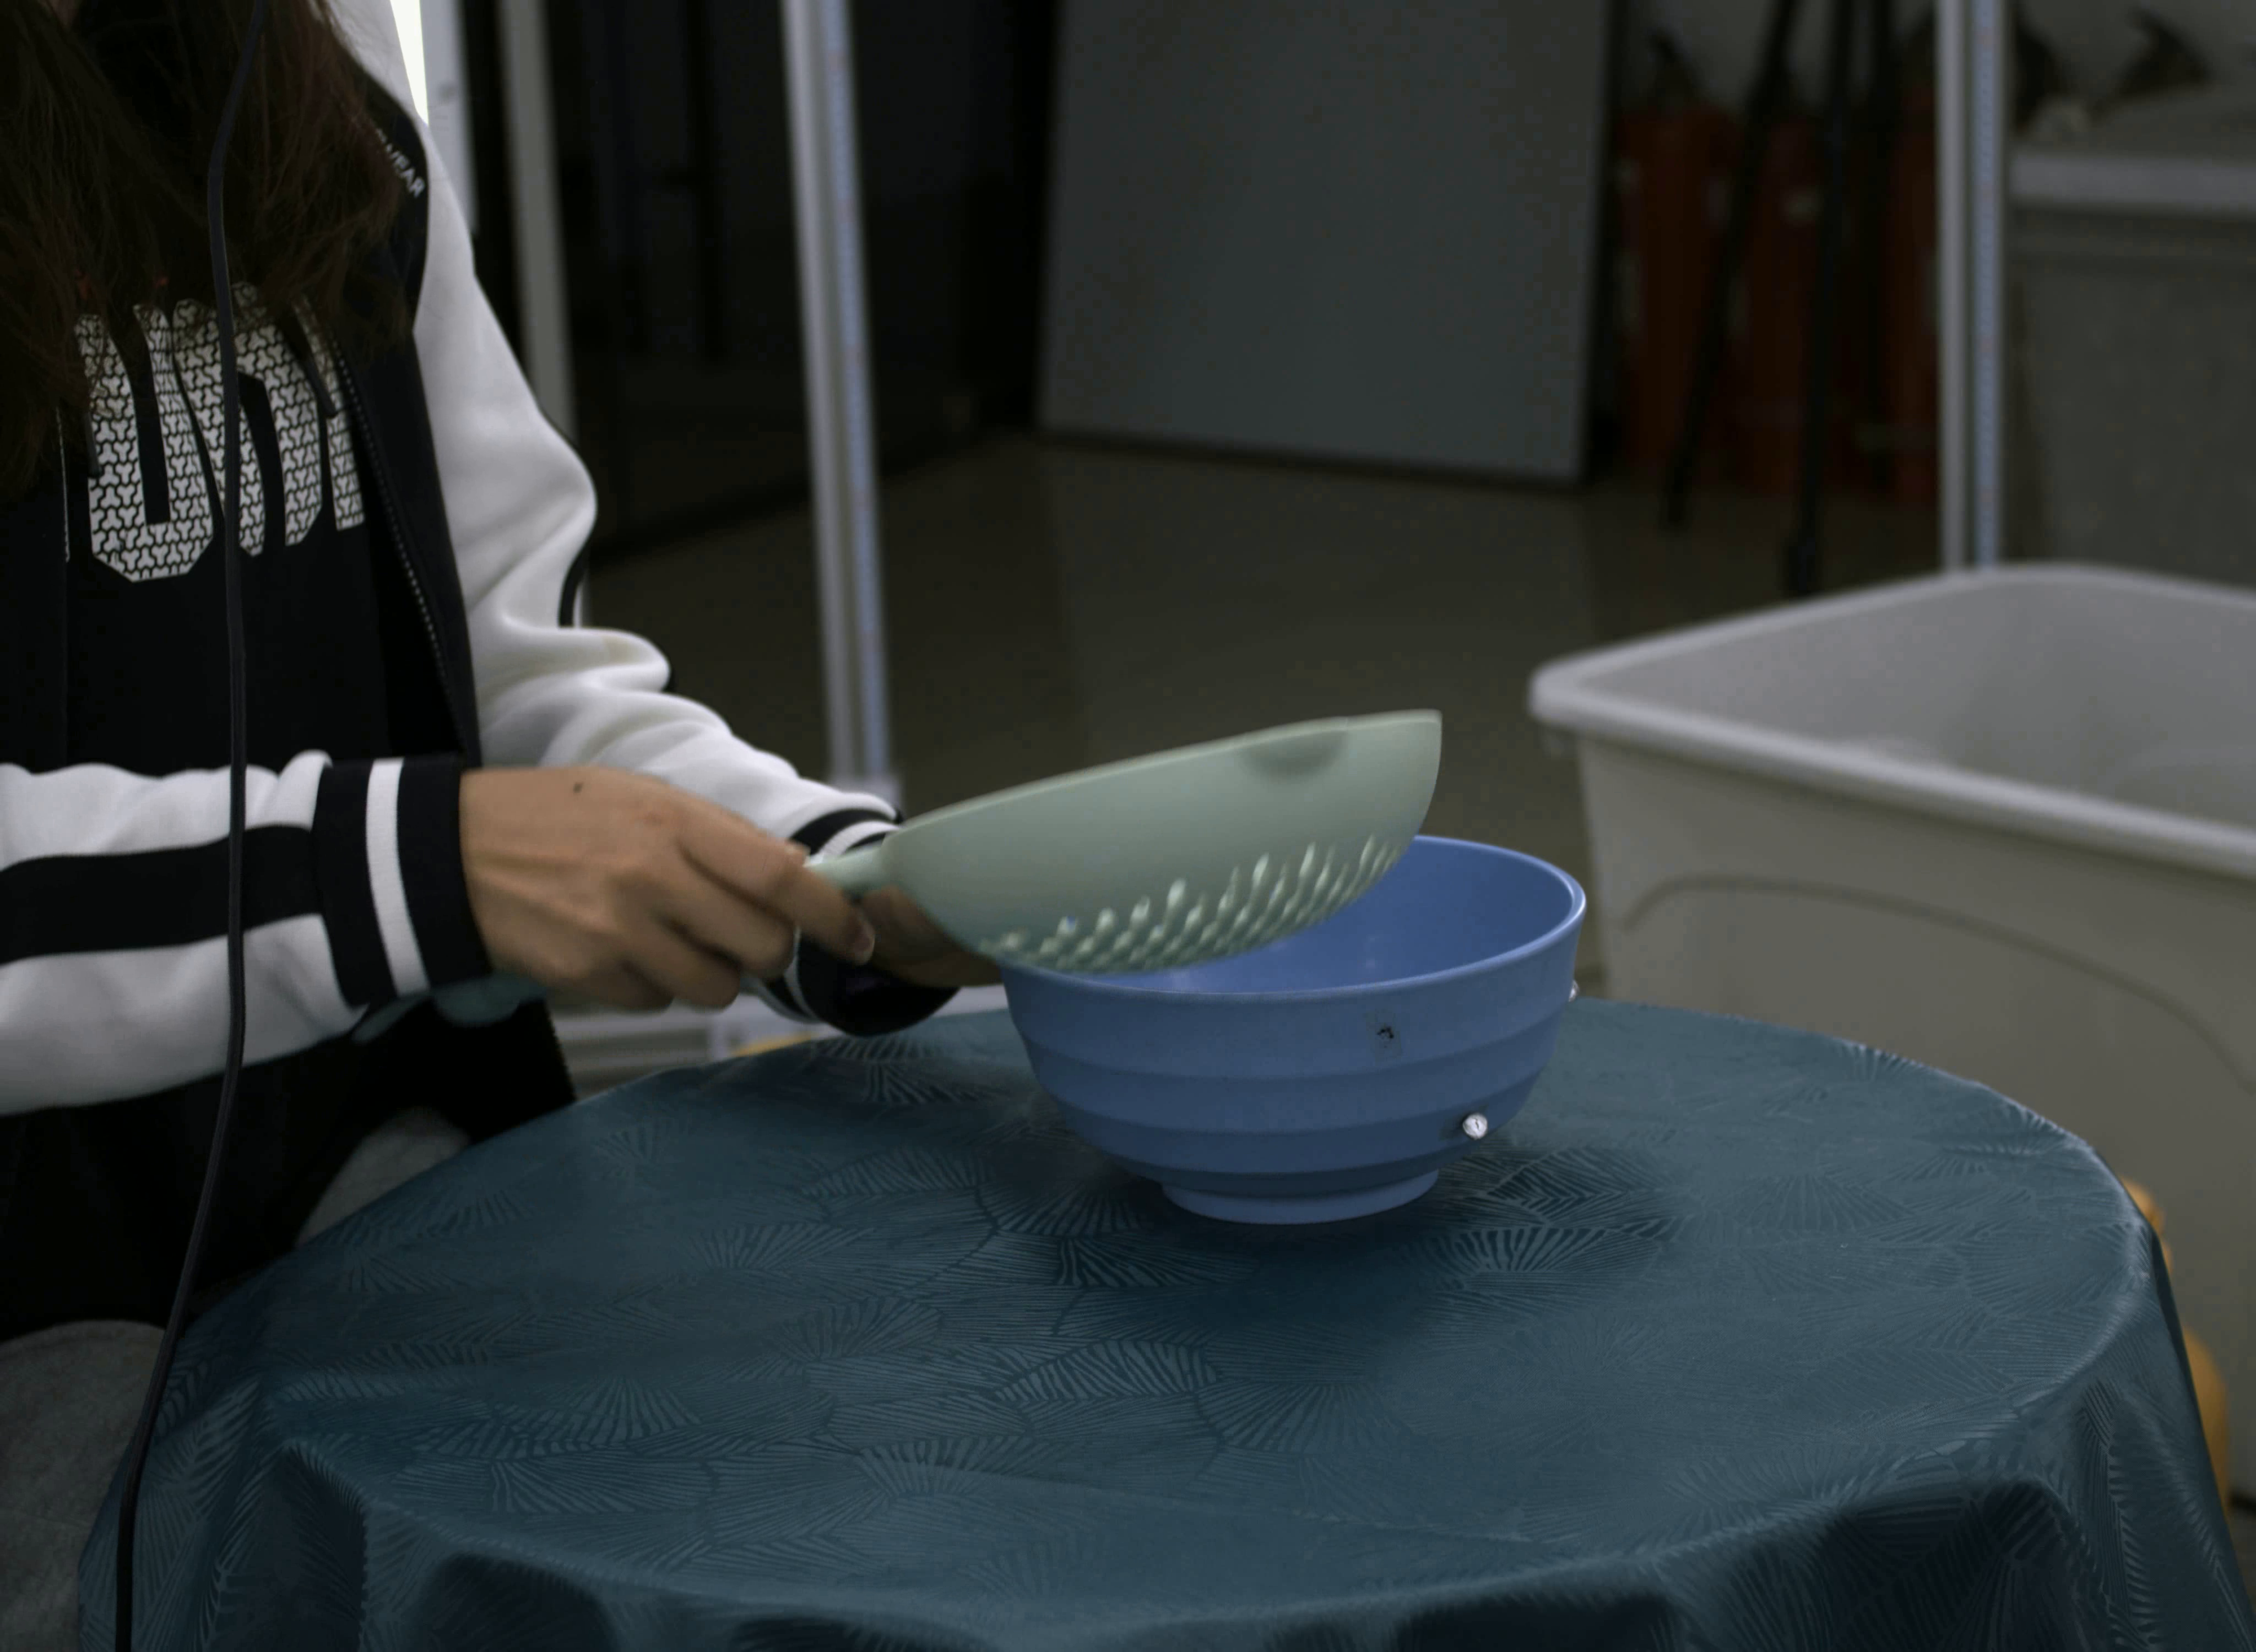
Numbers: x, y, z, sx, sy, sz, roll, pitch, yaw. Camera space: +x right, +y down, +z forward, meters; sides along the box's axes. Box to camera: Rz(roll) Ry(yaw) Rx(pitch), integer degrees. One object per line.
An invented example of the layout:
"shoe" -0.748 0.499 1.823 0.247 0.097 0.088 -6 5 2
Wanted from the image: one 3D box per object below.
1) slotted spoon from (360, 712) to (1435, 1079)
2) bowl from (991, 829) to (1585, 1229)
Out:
"slotted spoon" -0.077 0.023 1.625 0.358 0.076 0.167 -6 -2 21
"bowl" 0.054 0.072 1.756 0.194 0.096 0.197 -5 14 0
